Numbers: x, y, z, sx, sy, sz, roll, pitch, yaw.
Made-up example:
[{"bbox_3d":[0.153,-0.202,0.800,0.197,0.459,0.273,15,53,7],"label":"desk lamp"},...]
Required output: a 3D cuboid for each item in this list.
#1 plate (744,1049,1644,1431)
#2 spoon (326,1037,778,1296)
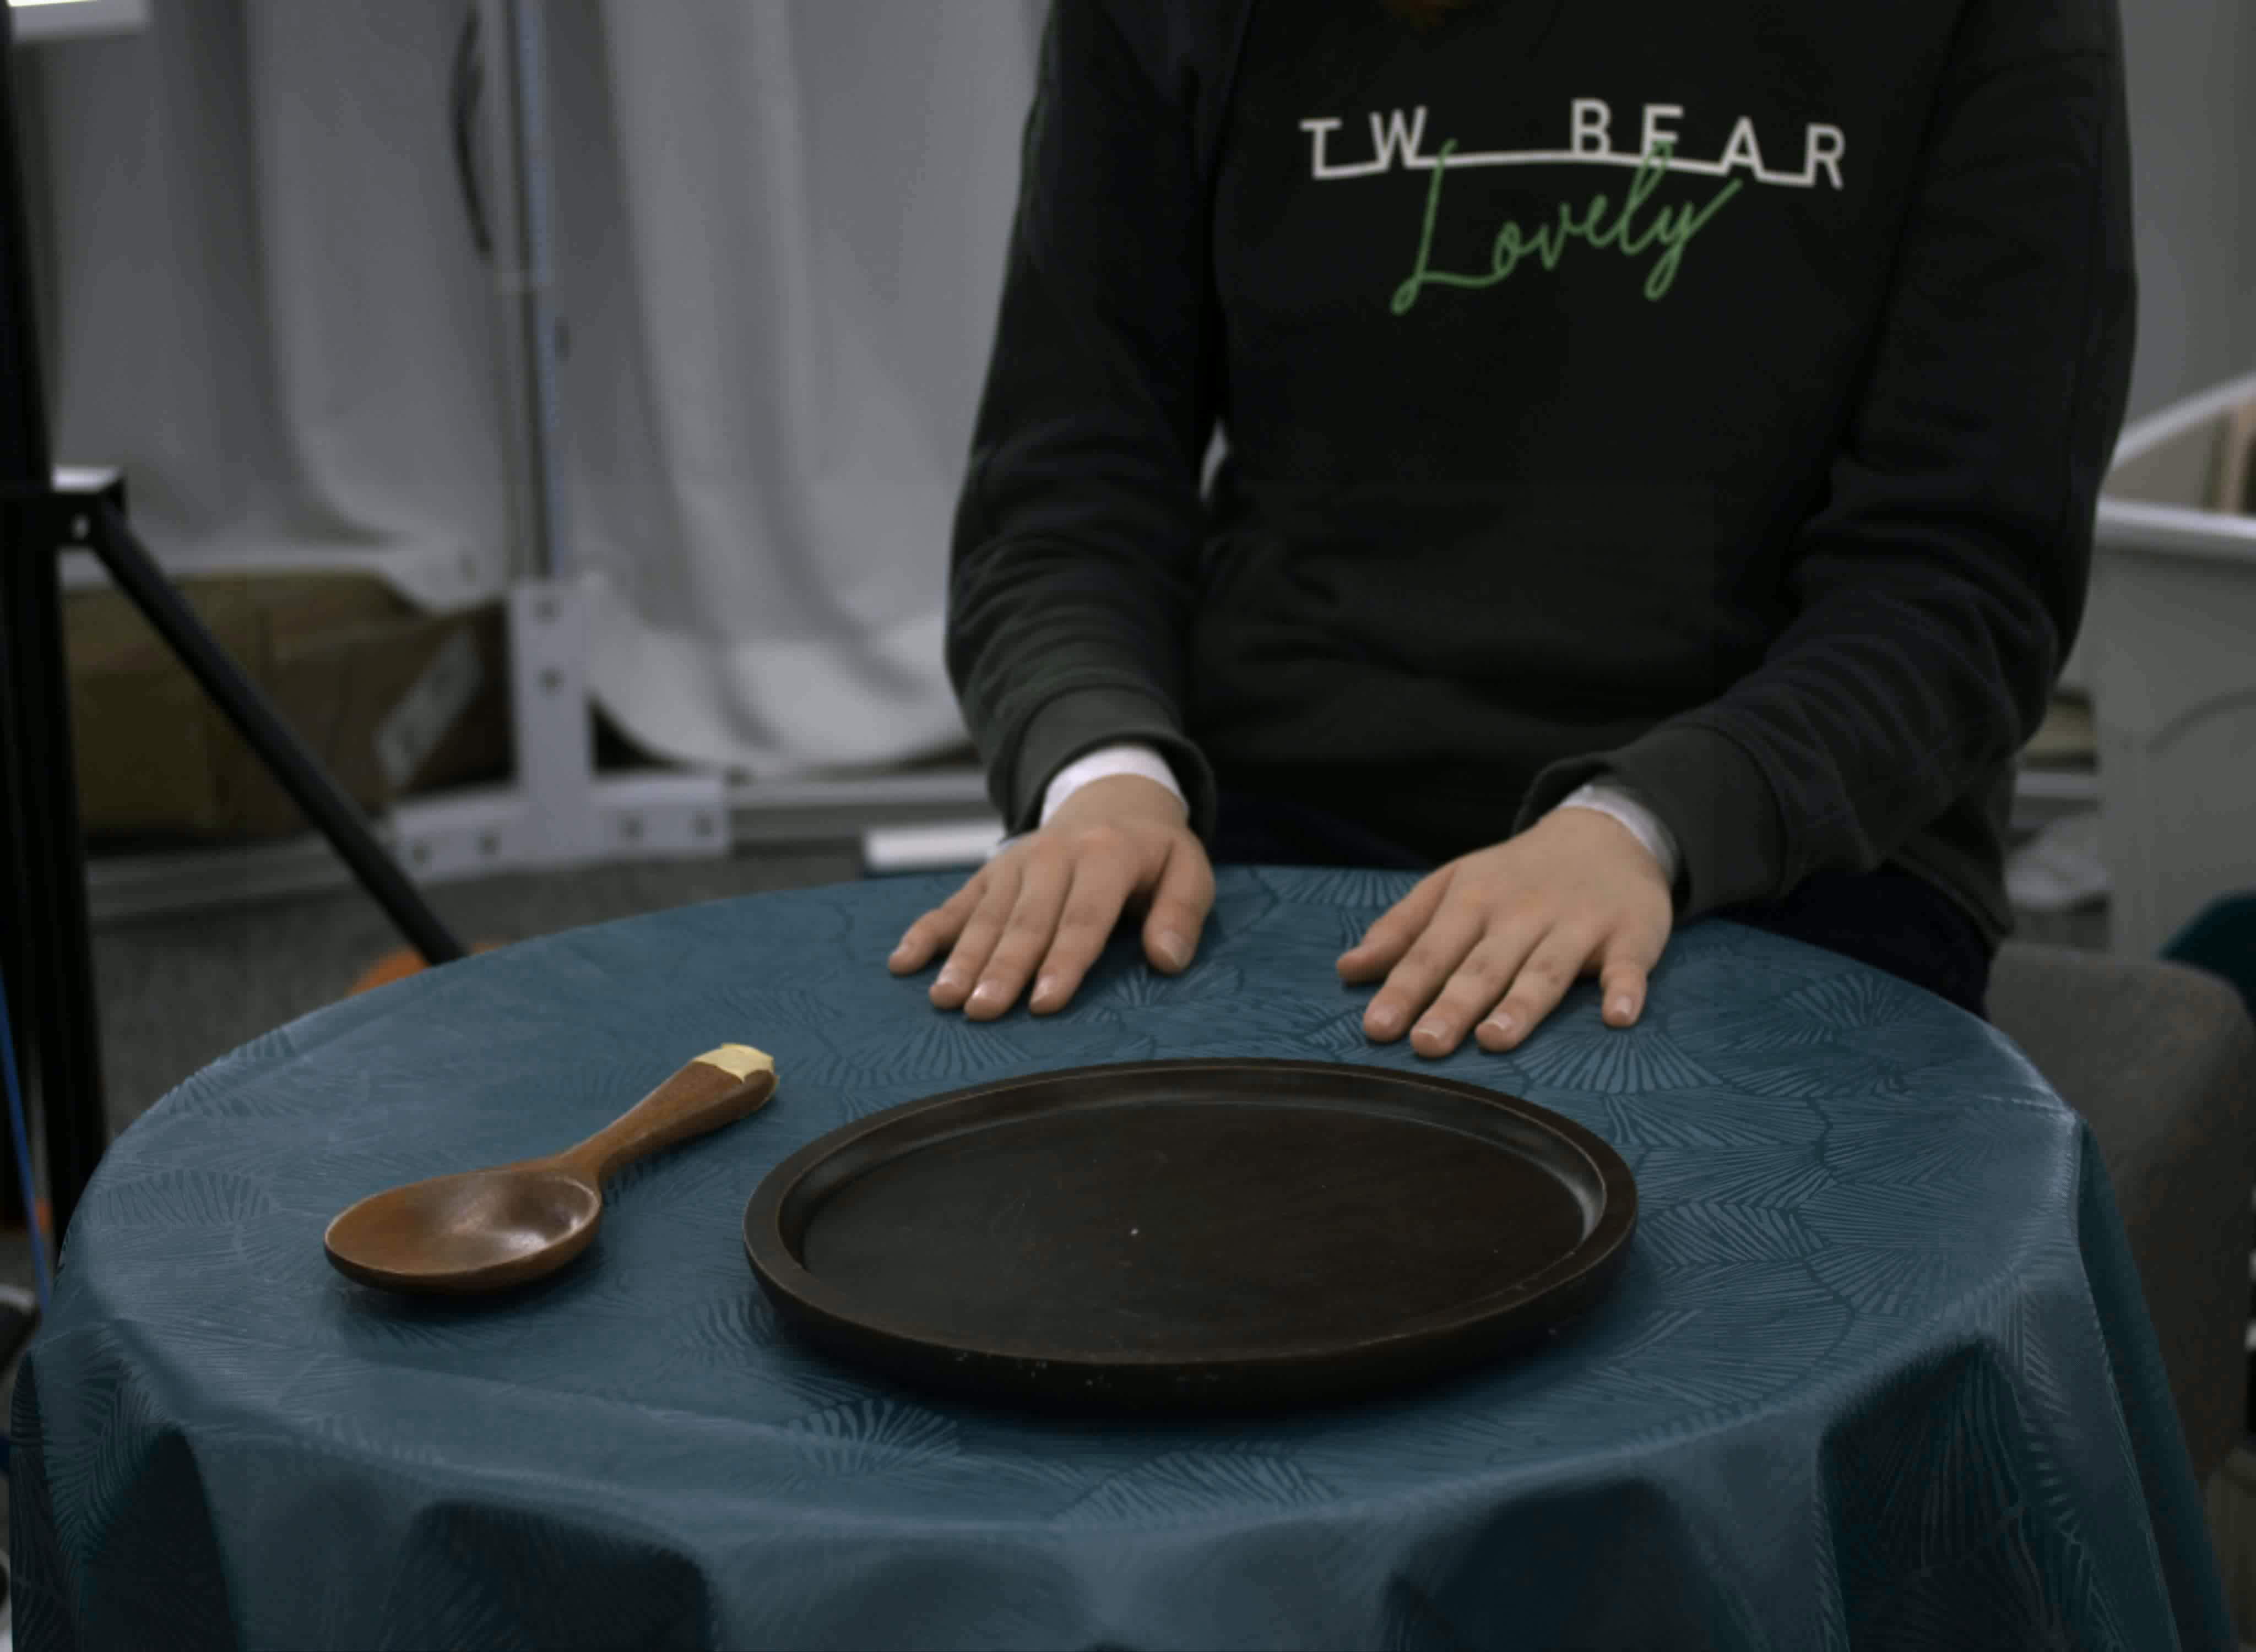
[{"bbox_3d":[0.019,0.115,1.490,0.253,0.029,0.256,-3,17,-1],"label":"plate"},{"bbox_3d":[-0.160,0.102,1.575,0.076,0.017,0.212,5,18,25],"label":"spoon"}]
